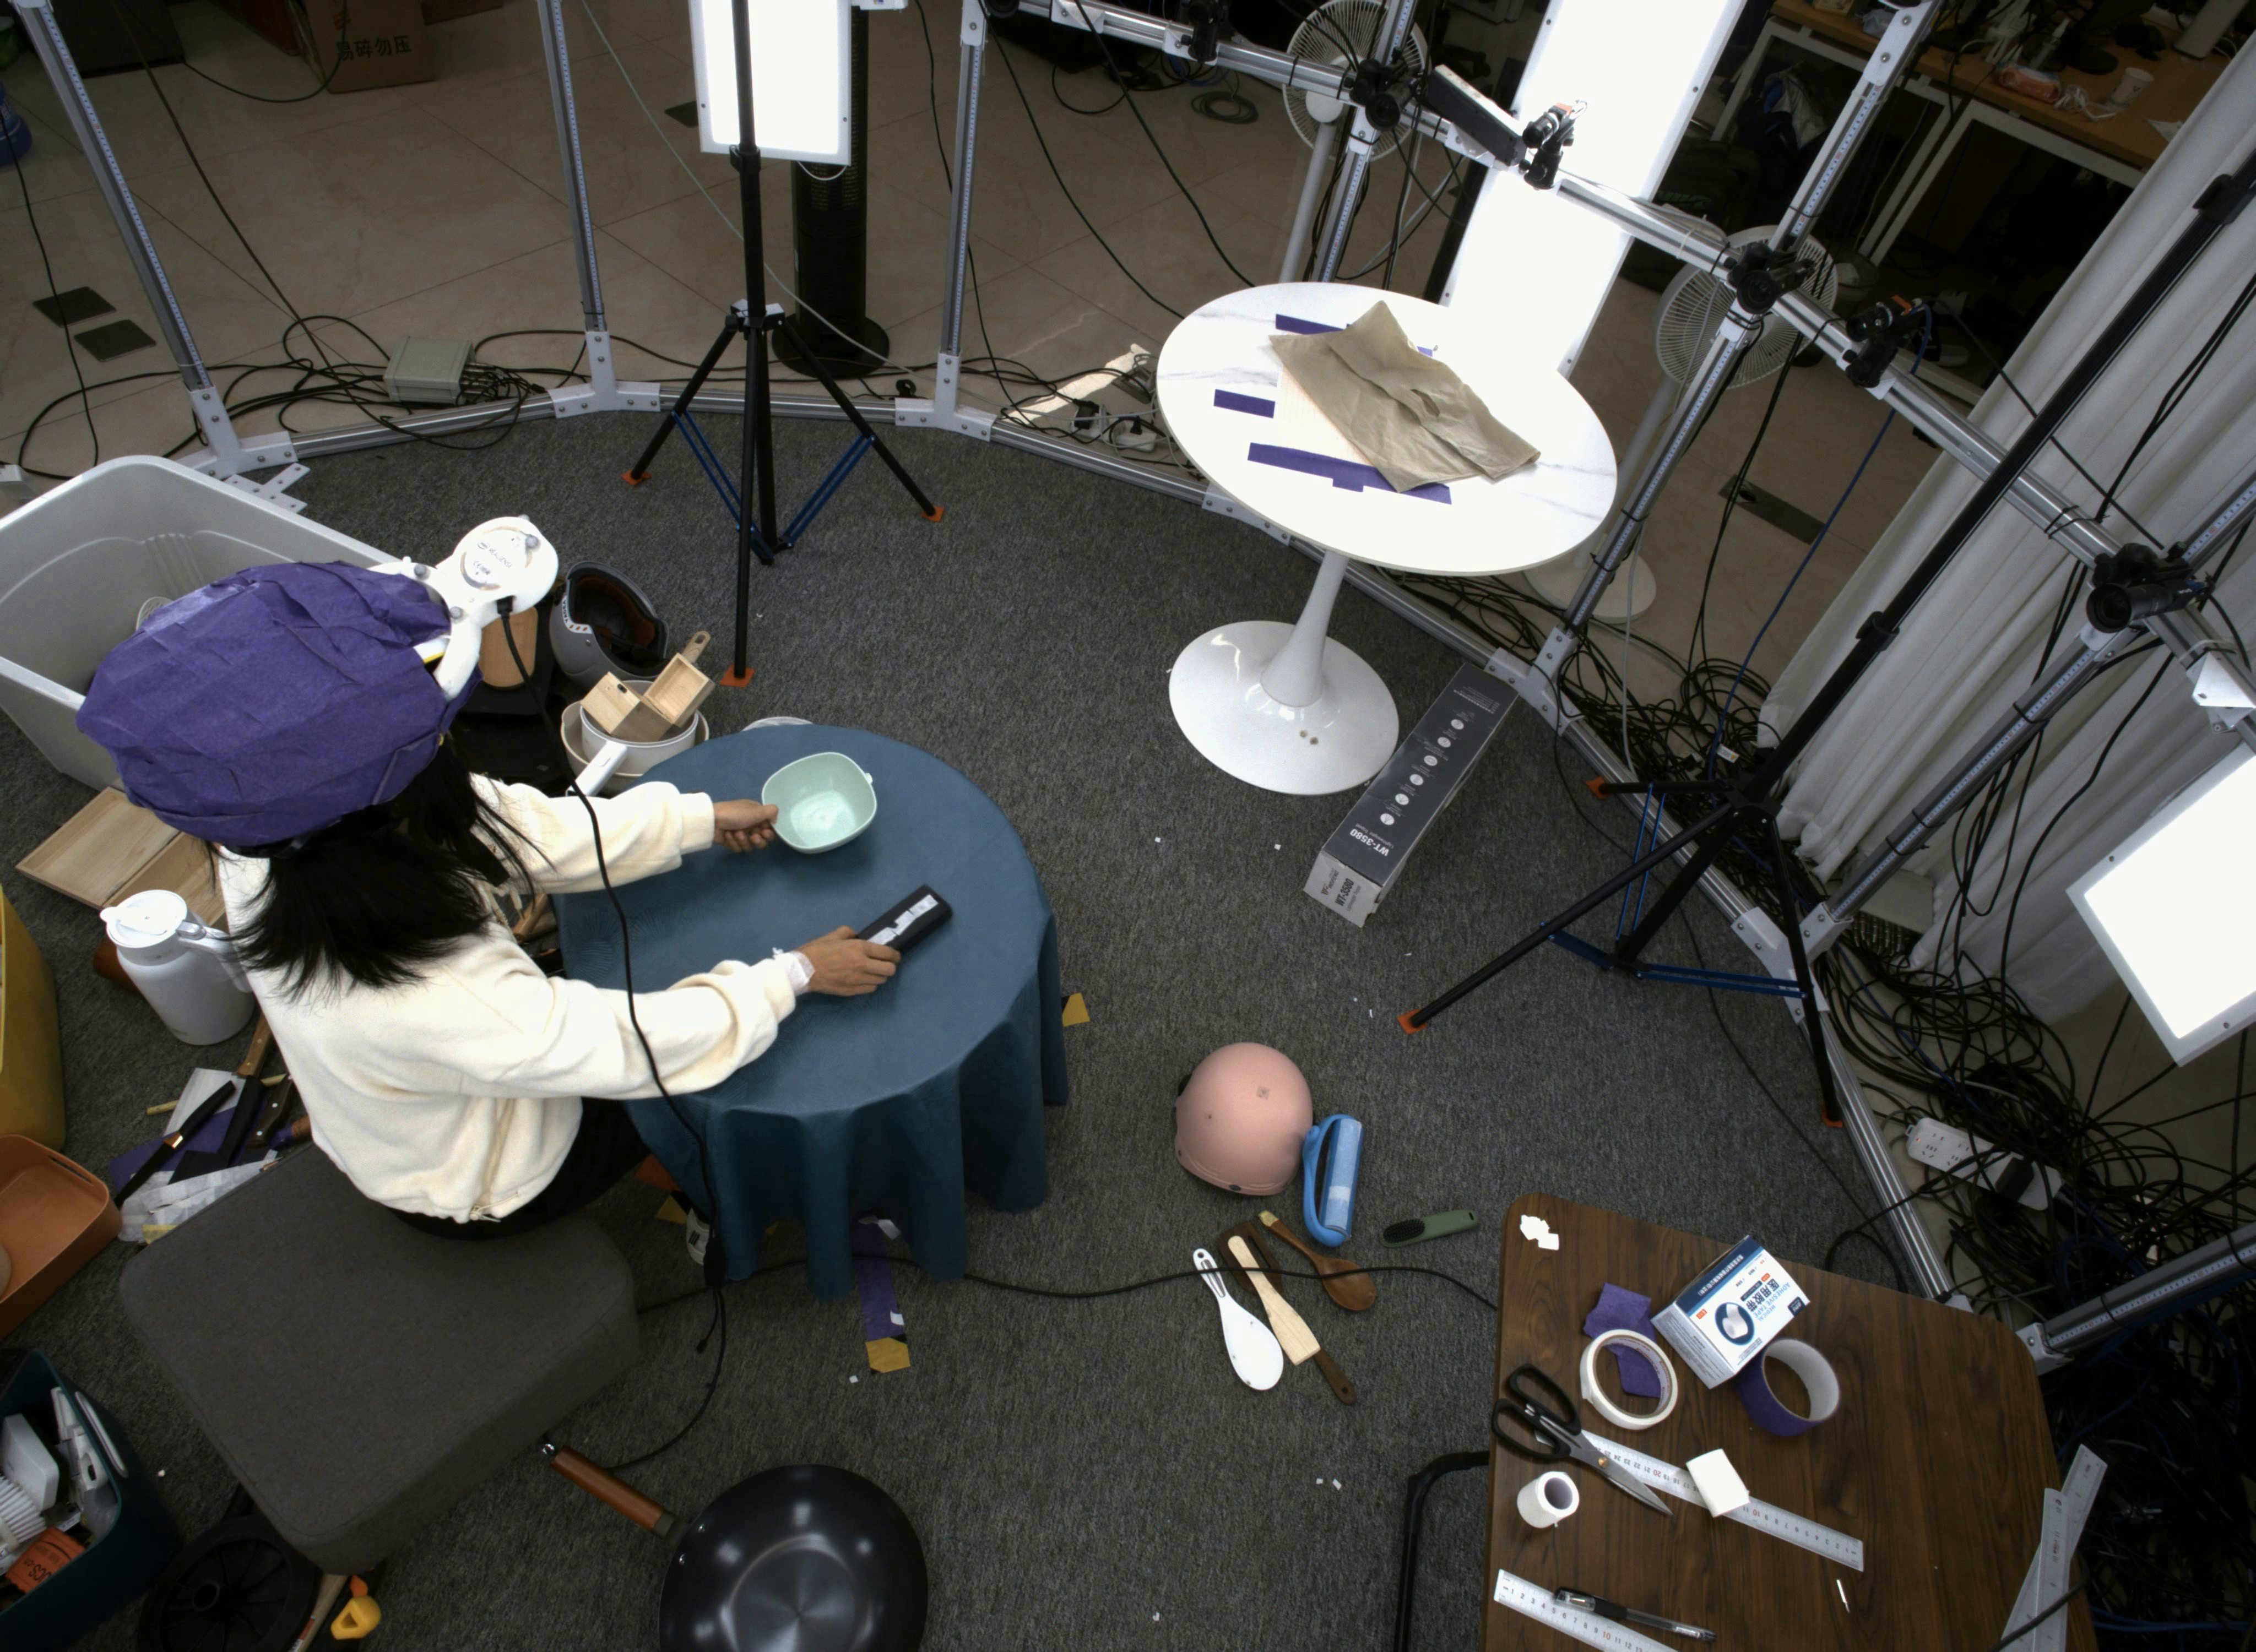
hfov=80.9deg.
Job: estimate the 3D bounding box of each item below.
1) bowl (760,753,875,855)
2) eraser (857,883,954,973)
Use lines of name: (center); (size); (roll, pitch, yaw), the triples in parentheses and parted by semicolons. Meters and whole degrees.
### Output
bowl: (-0.403, -0.020, 1.696); (0.150, 0.060, 0.149); (4, 56, -4)
eraser: (-0.280, 0.126, 1.644); (0.052, 0.031, 0.125); (37, 54, 14)
